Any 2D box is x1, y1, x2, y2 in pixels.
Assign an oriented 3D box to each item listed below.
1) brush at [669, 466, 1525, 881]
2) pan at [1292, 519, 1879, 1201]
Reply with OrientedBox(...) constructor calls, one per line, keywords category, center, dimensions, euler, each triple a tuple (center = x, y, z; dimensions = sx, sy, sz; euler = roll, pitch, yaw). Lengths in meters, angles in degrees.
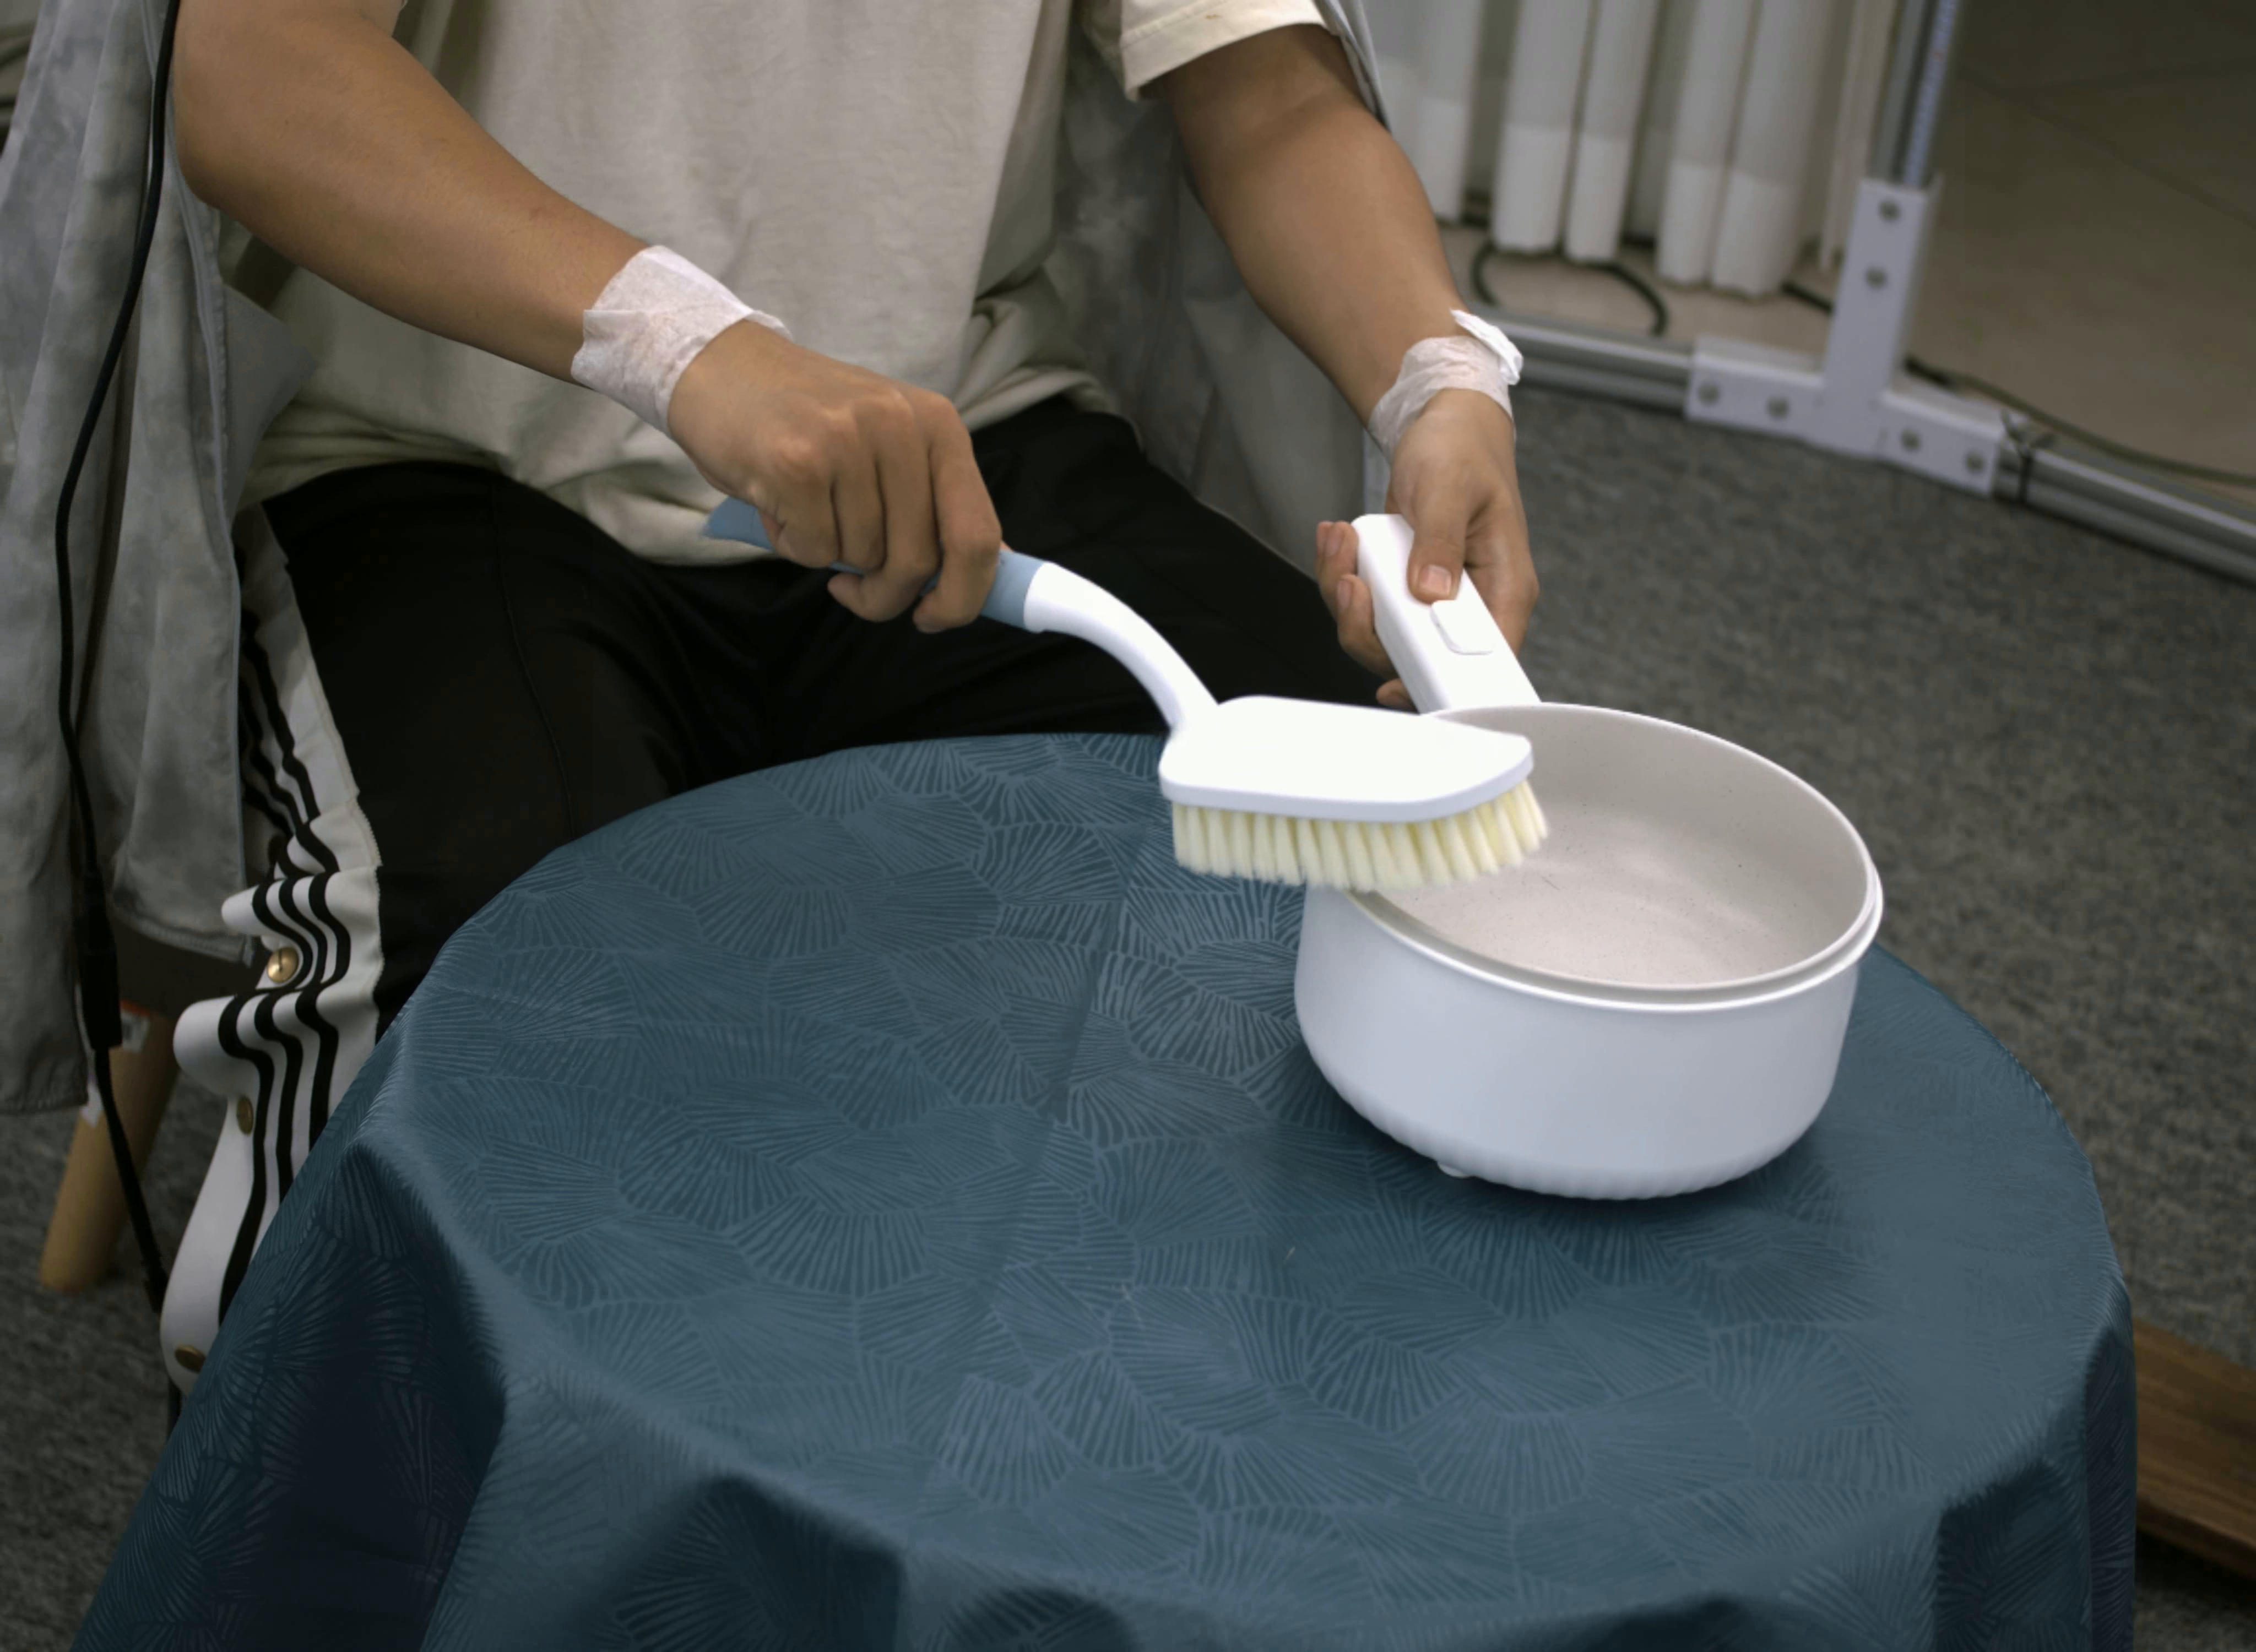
OrientedBox(category="brush", center=(-0.015, -0.041, 1.837), dimensions=(0.326, 0.085, 0.082), euler=(17, -5, 21))
OrientedBox(category="pan", center=(0.139, 0.010, 1.937), dimensions=(0.200, 0.102, 0.358), euler=(-1, 30, -15))
